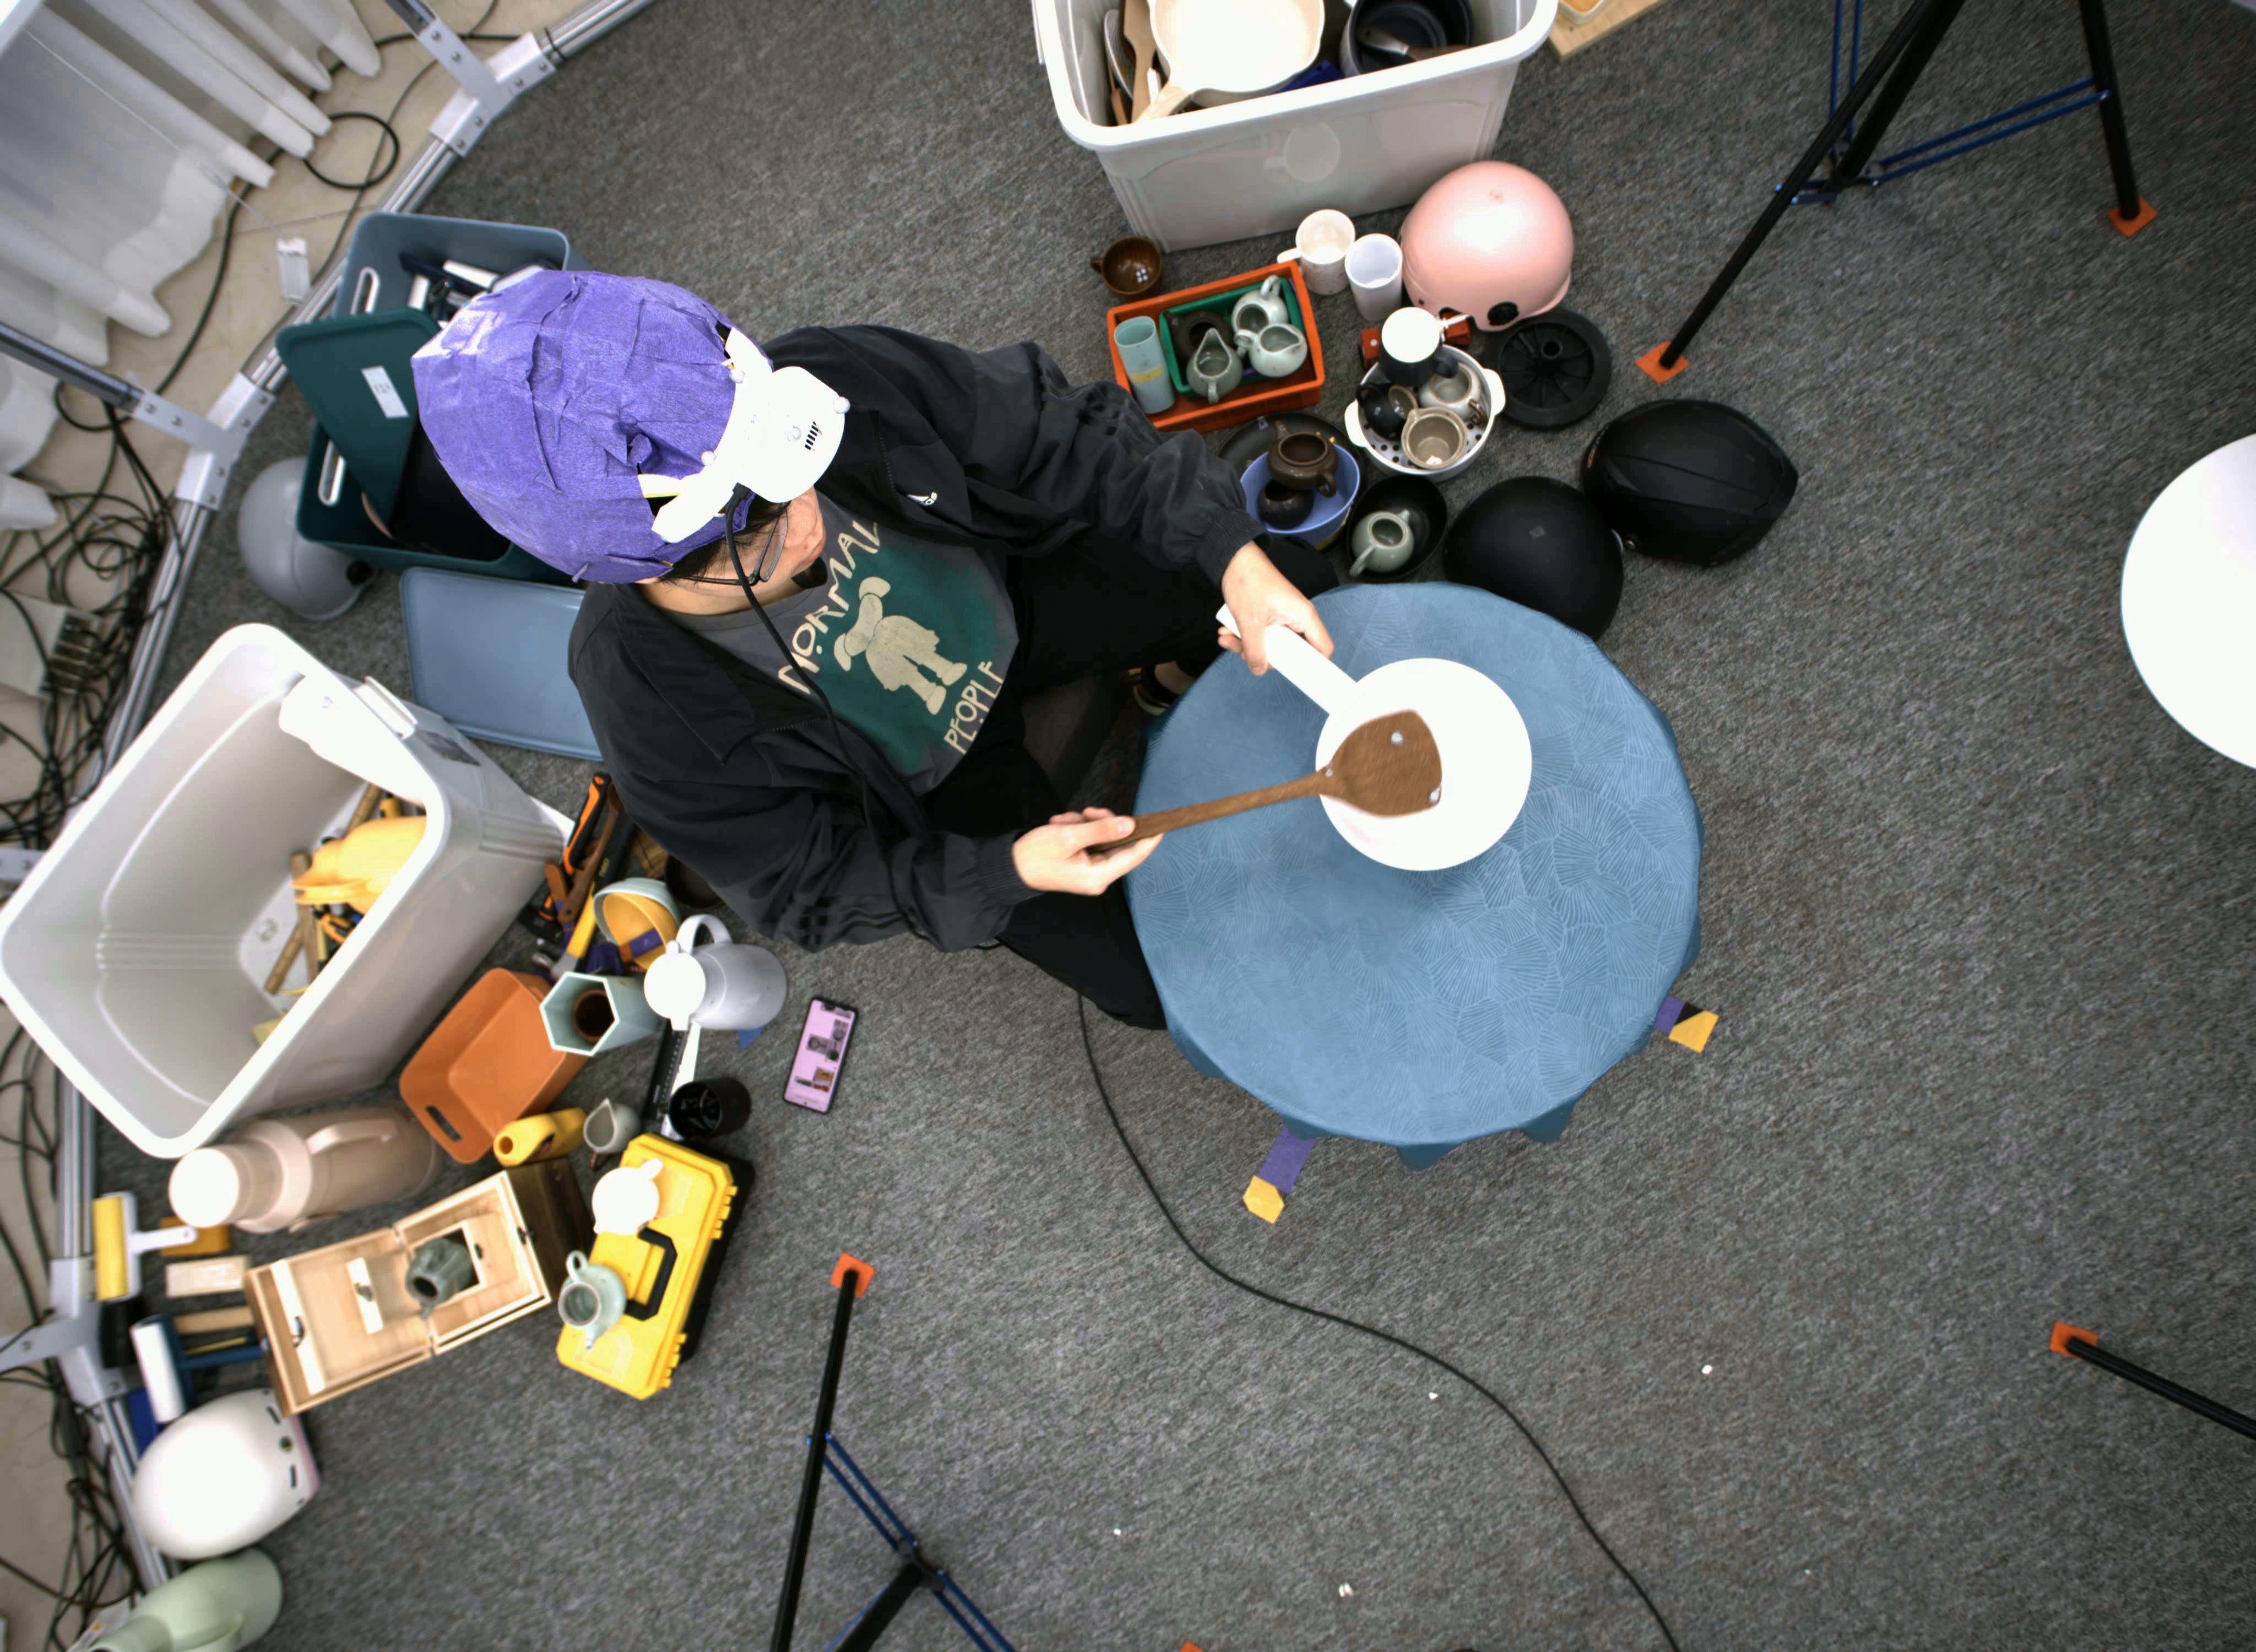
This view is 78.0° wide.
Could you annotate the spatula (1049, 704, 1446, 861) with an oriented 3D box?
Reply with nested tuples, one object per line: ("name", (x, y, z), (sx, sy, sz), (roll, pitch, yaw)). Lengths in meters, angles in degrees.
("spatula", (0.101, -0.023, 1.284), (0.389, 0.015, 0.096), (-15, 90, 18))

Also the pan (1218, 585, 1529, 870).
("pan", (0.236, -0.107, 1.362), (0.352, 0.101, 0.203), (43, 103, 15))
